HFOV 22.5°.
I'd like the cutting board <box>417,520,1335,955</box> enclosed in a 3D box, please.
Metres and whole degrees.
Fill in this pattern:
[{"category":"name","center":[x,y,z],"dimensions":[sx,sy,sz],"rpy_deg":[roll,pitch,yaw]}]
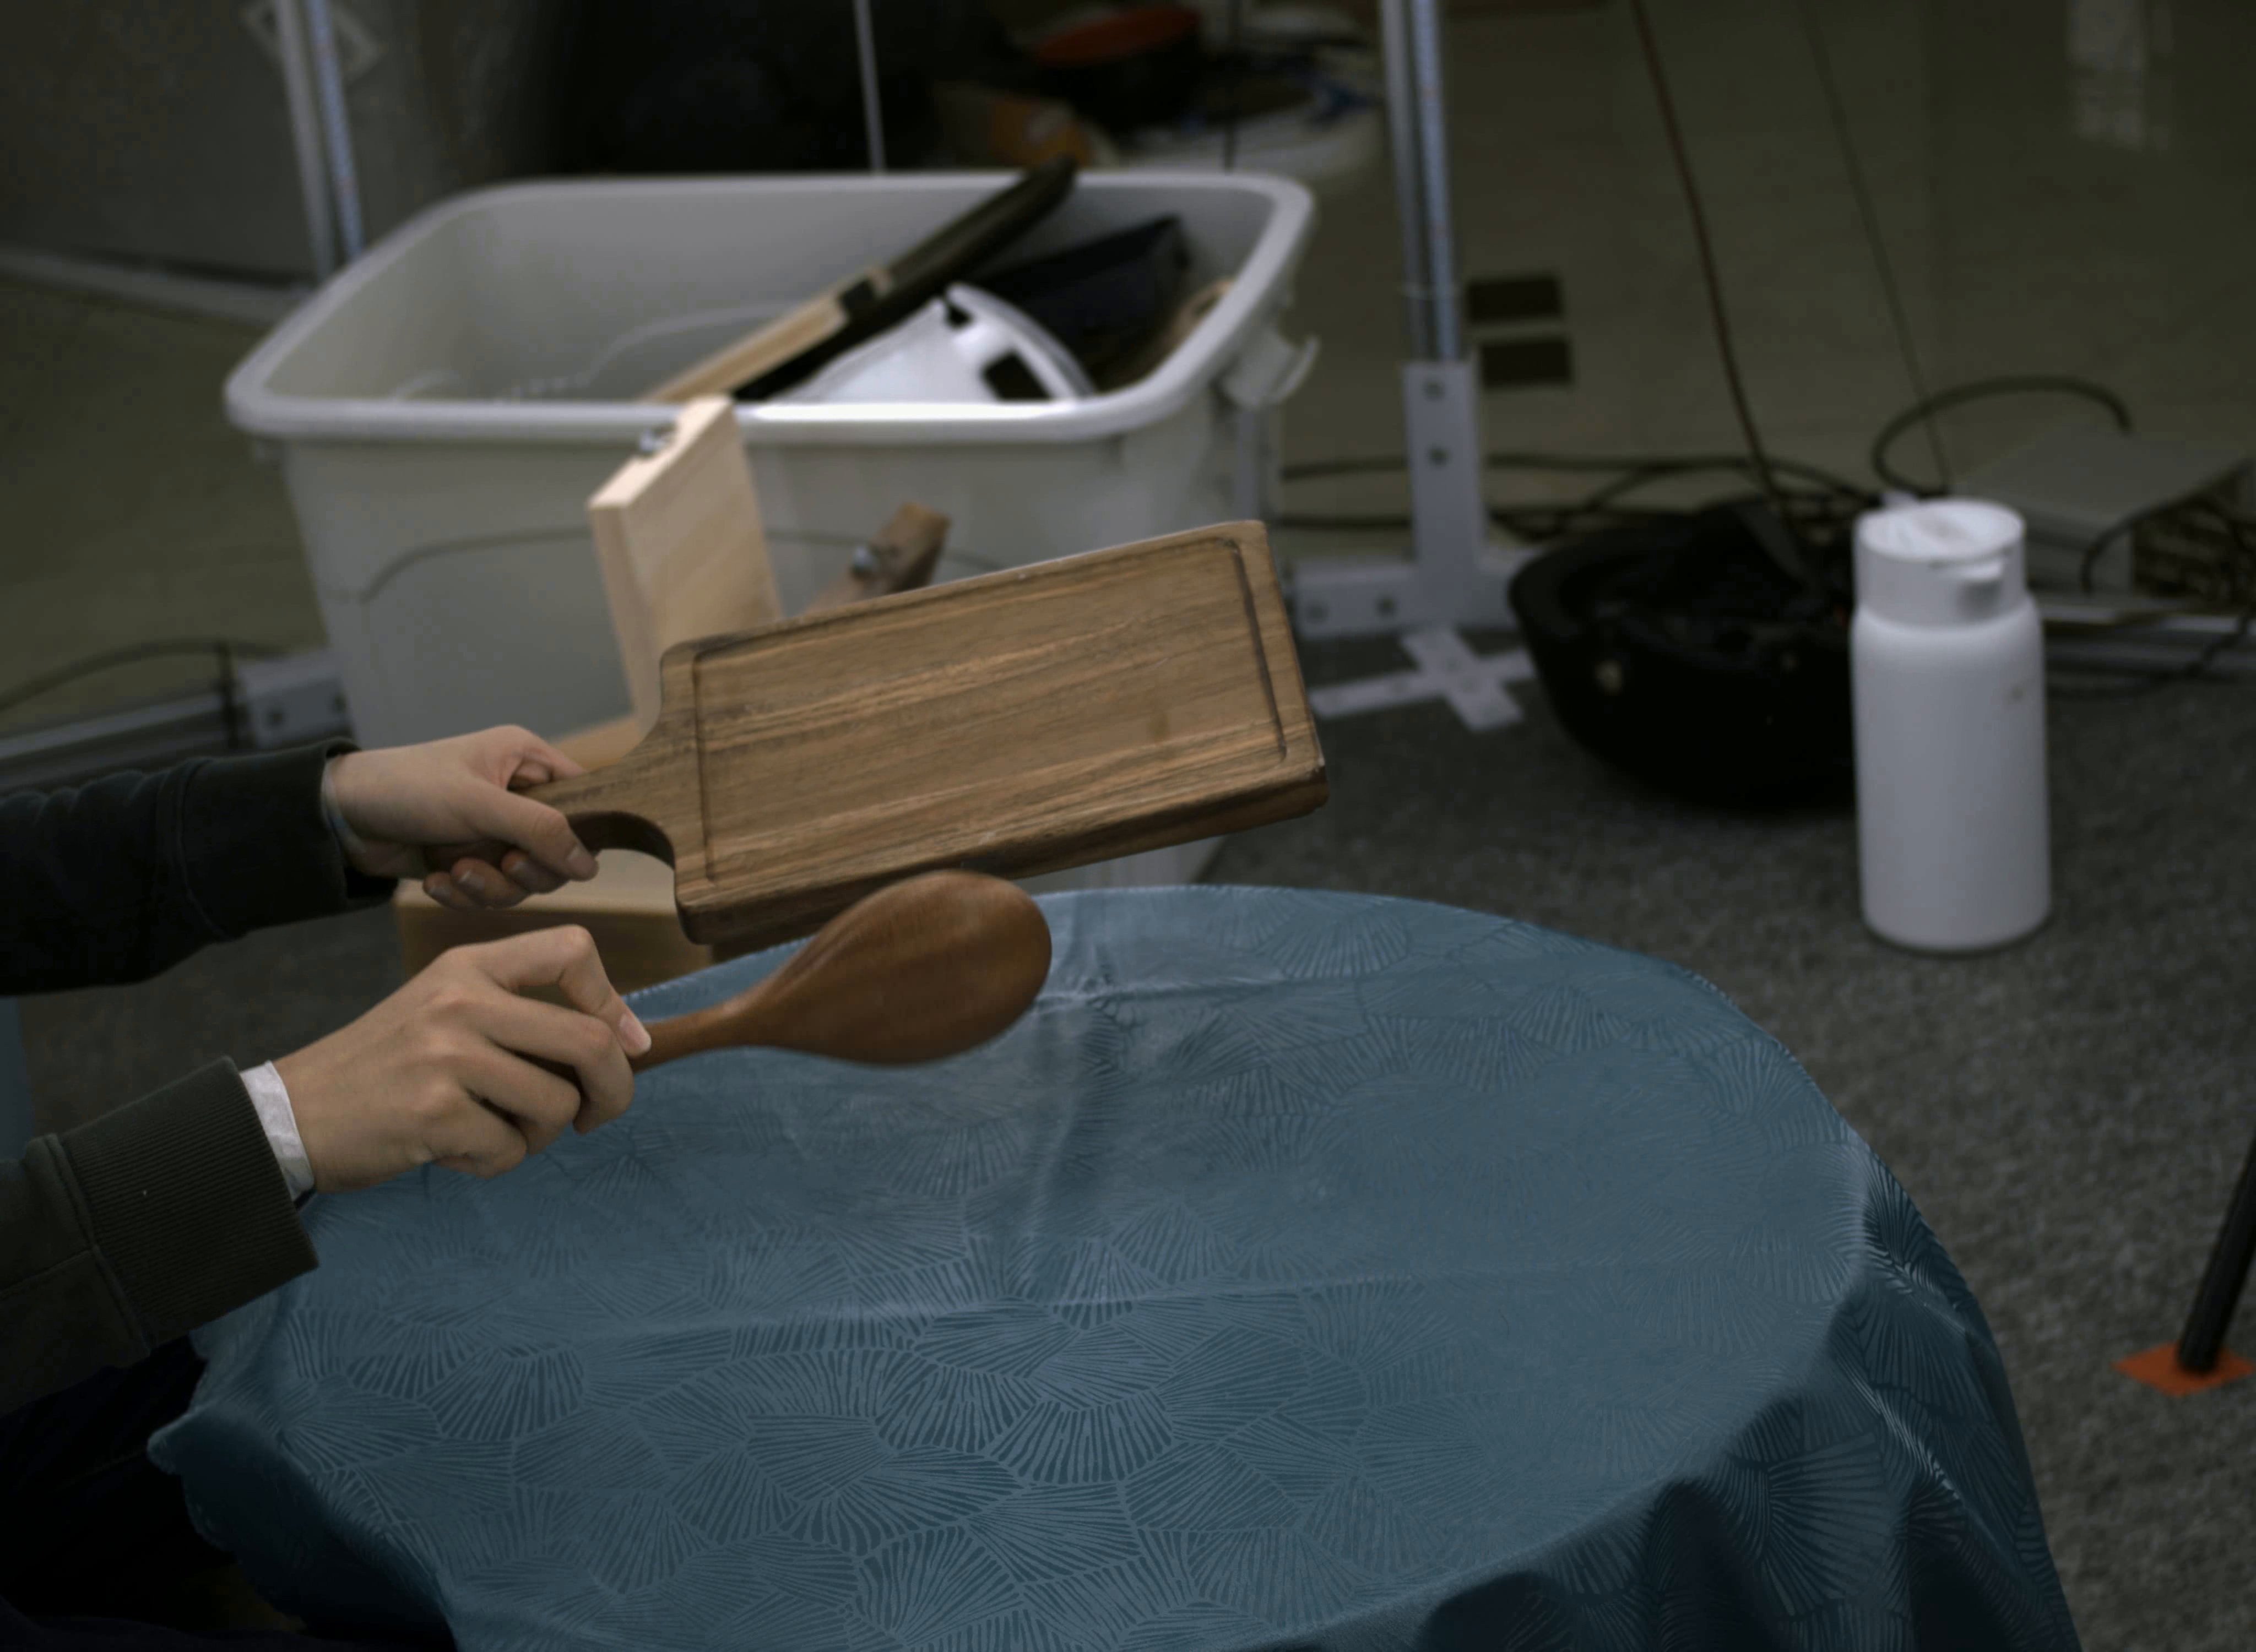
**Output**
[{"category":"cutting board","center":[-0.104,-0.027,2.203],"dimensions":[0.351,0.023,0.197],"rpy_deg":[-12,35,1]}]

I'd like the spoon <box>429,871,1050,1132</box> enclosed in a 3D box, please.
[{"category":"spoon","center":[-0.127,0.065,1.885],"dimensions":[0.215,0.077,0.017],"rpy_deg":[-15,43,-11]}]
